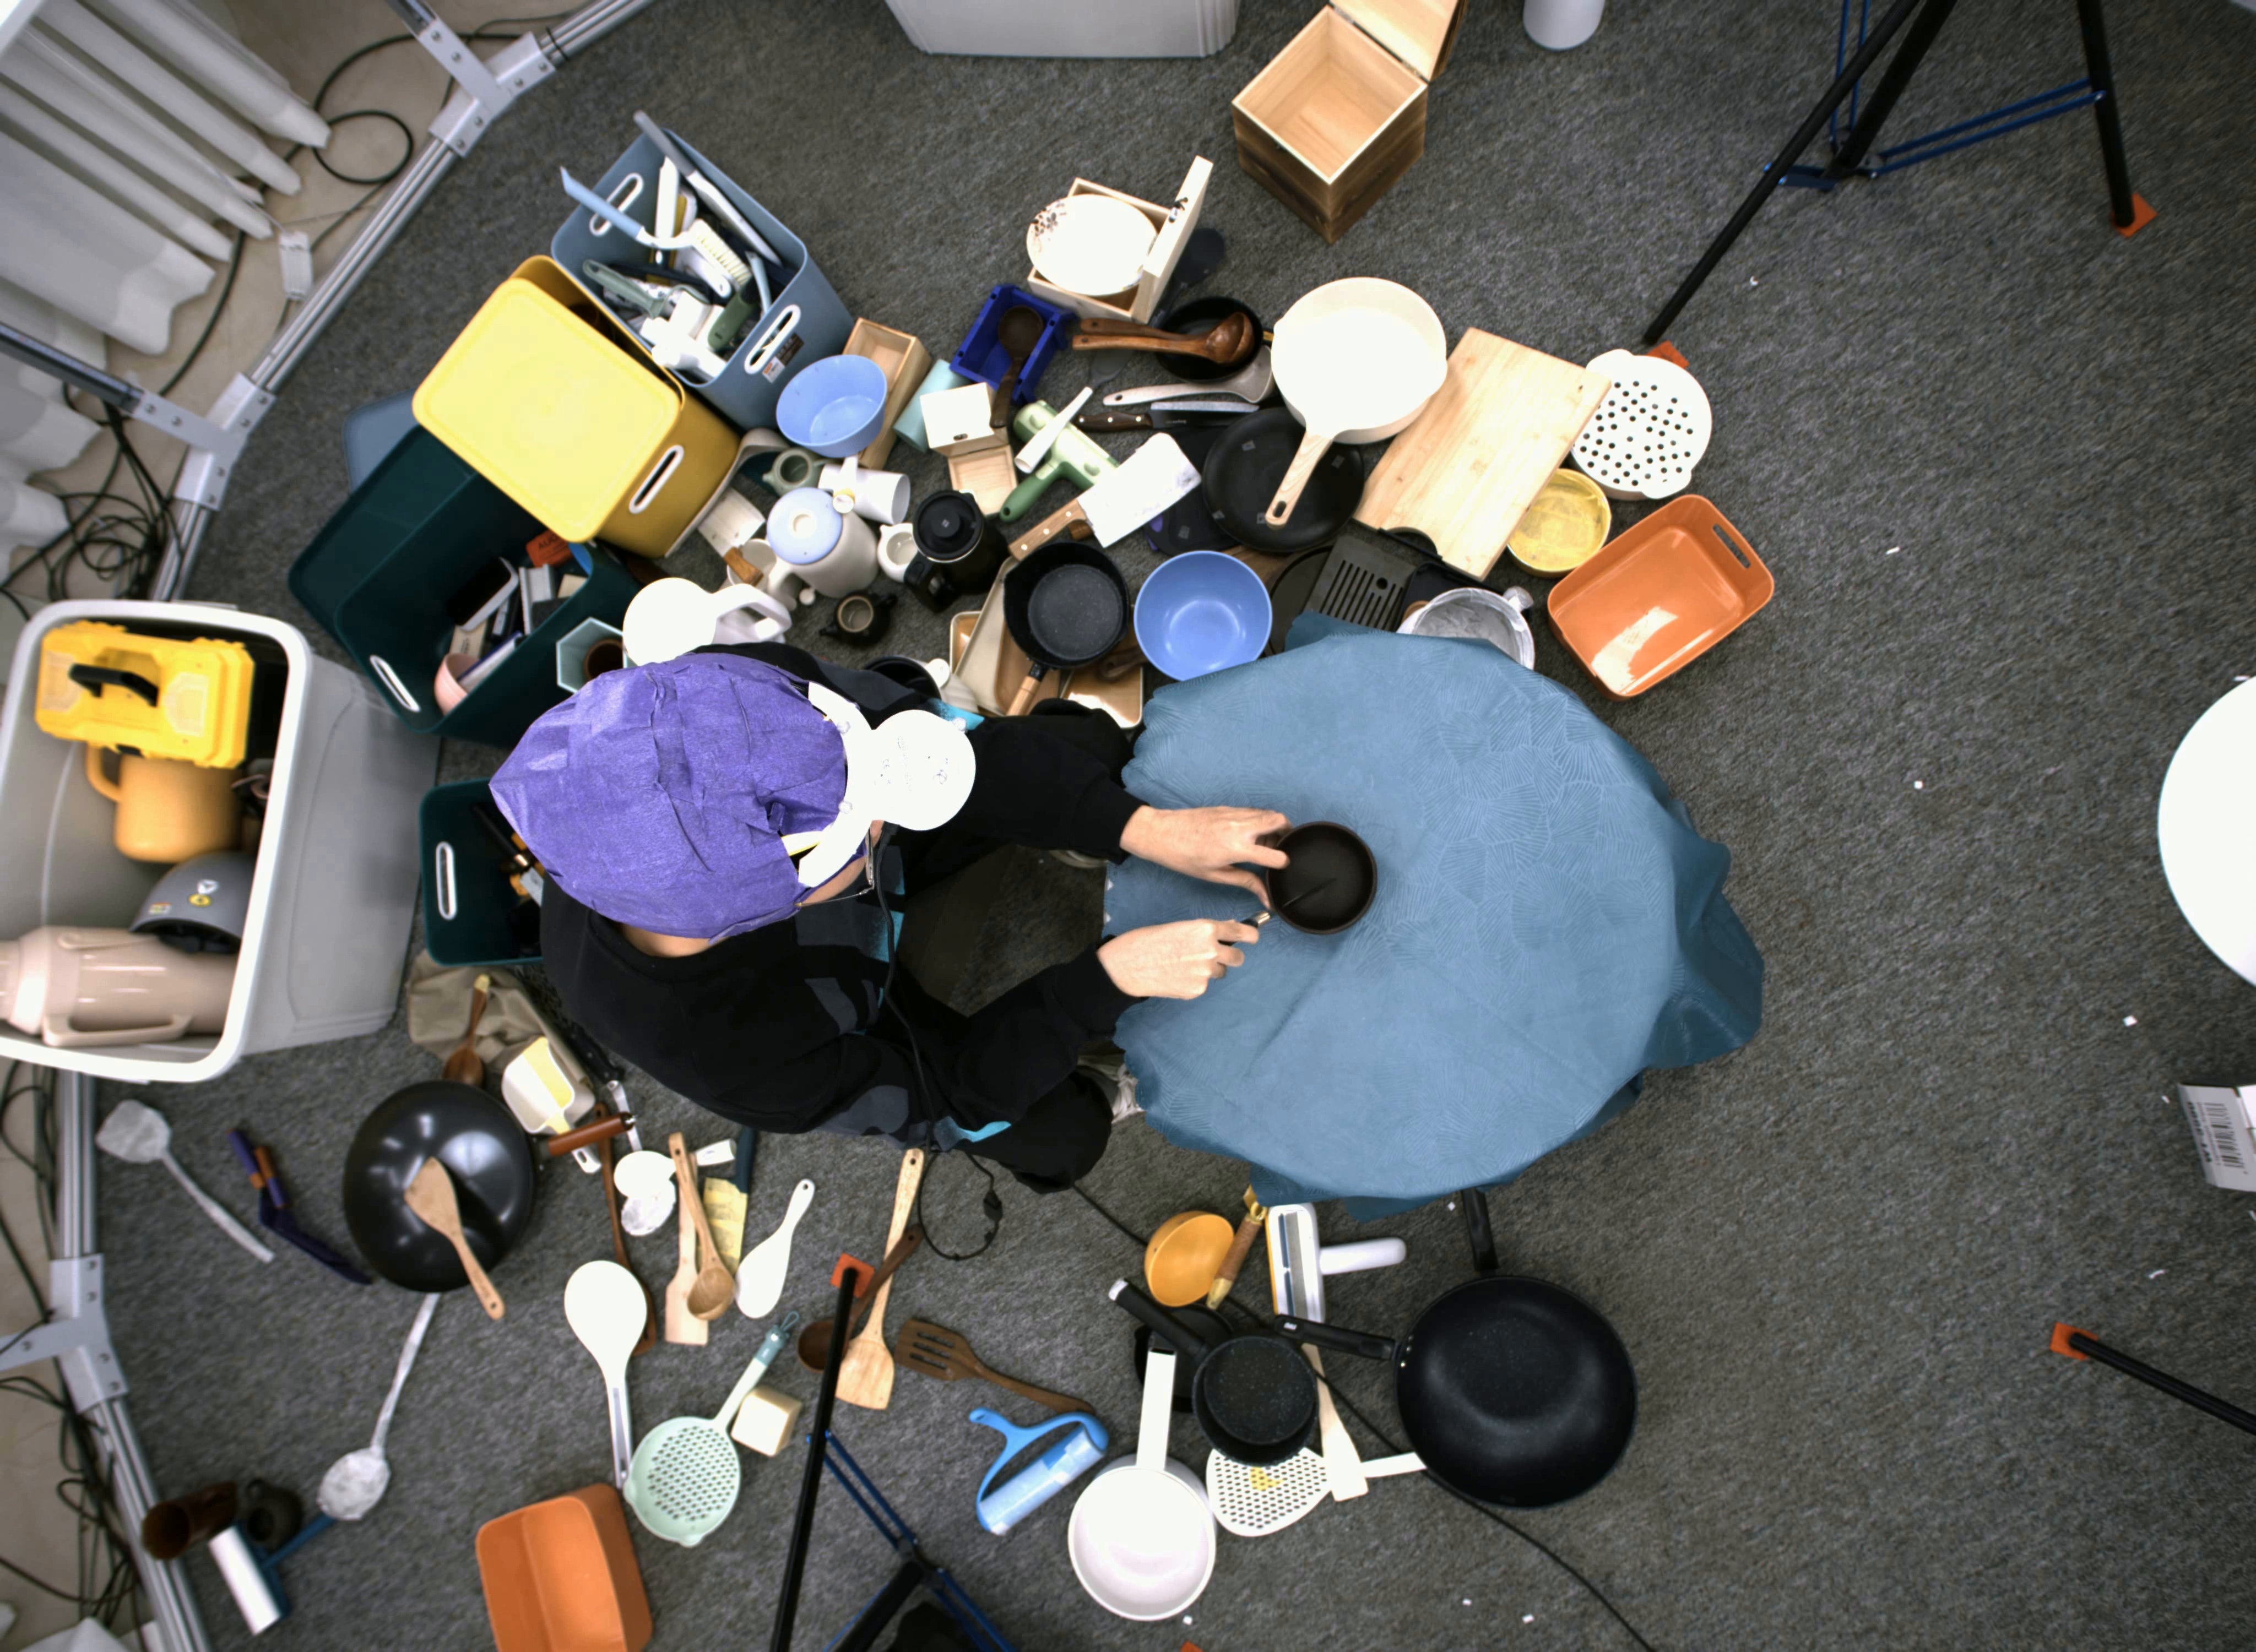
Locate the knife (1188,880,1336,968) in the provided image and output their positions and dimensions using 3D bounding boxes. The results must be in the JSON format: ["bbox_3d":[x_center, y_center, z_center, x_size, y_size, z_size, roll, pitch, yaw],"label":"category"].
[{"bbox_3d":[0.139,0.092,1.387,0.222,0.027,0.017,-25,62,-36],"label":"knife"}]

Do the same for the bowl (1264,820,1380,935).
[{"bbox_3d":[0.202,0.054,1.434,0.118,0.070,0.117,-1,85,13],"label":"bowl"}]
